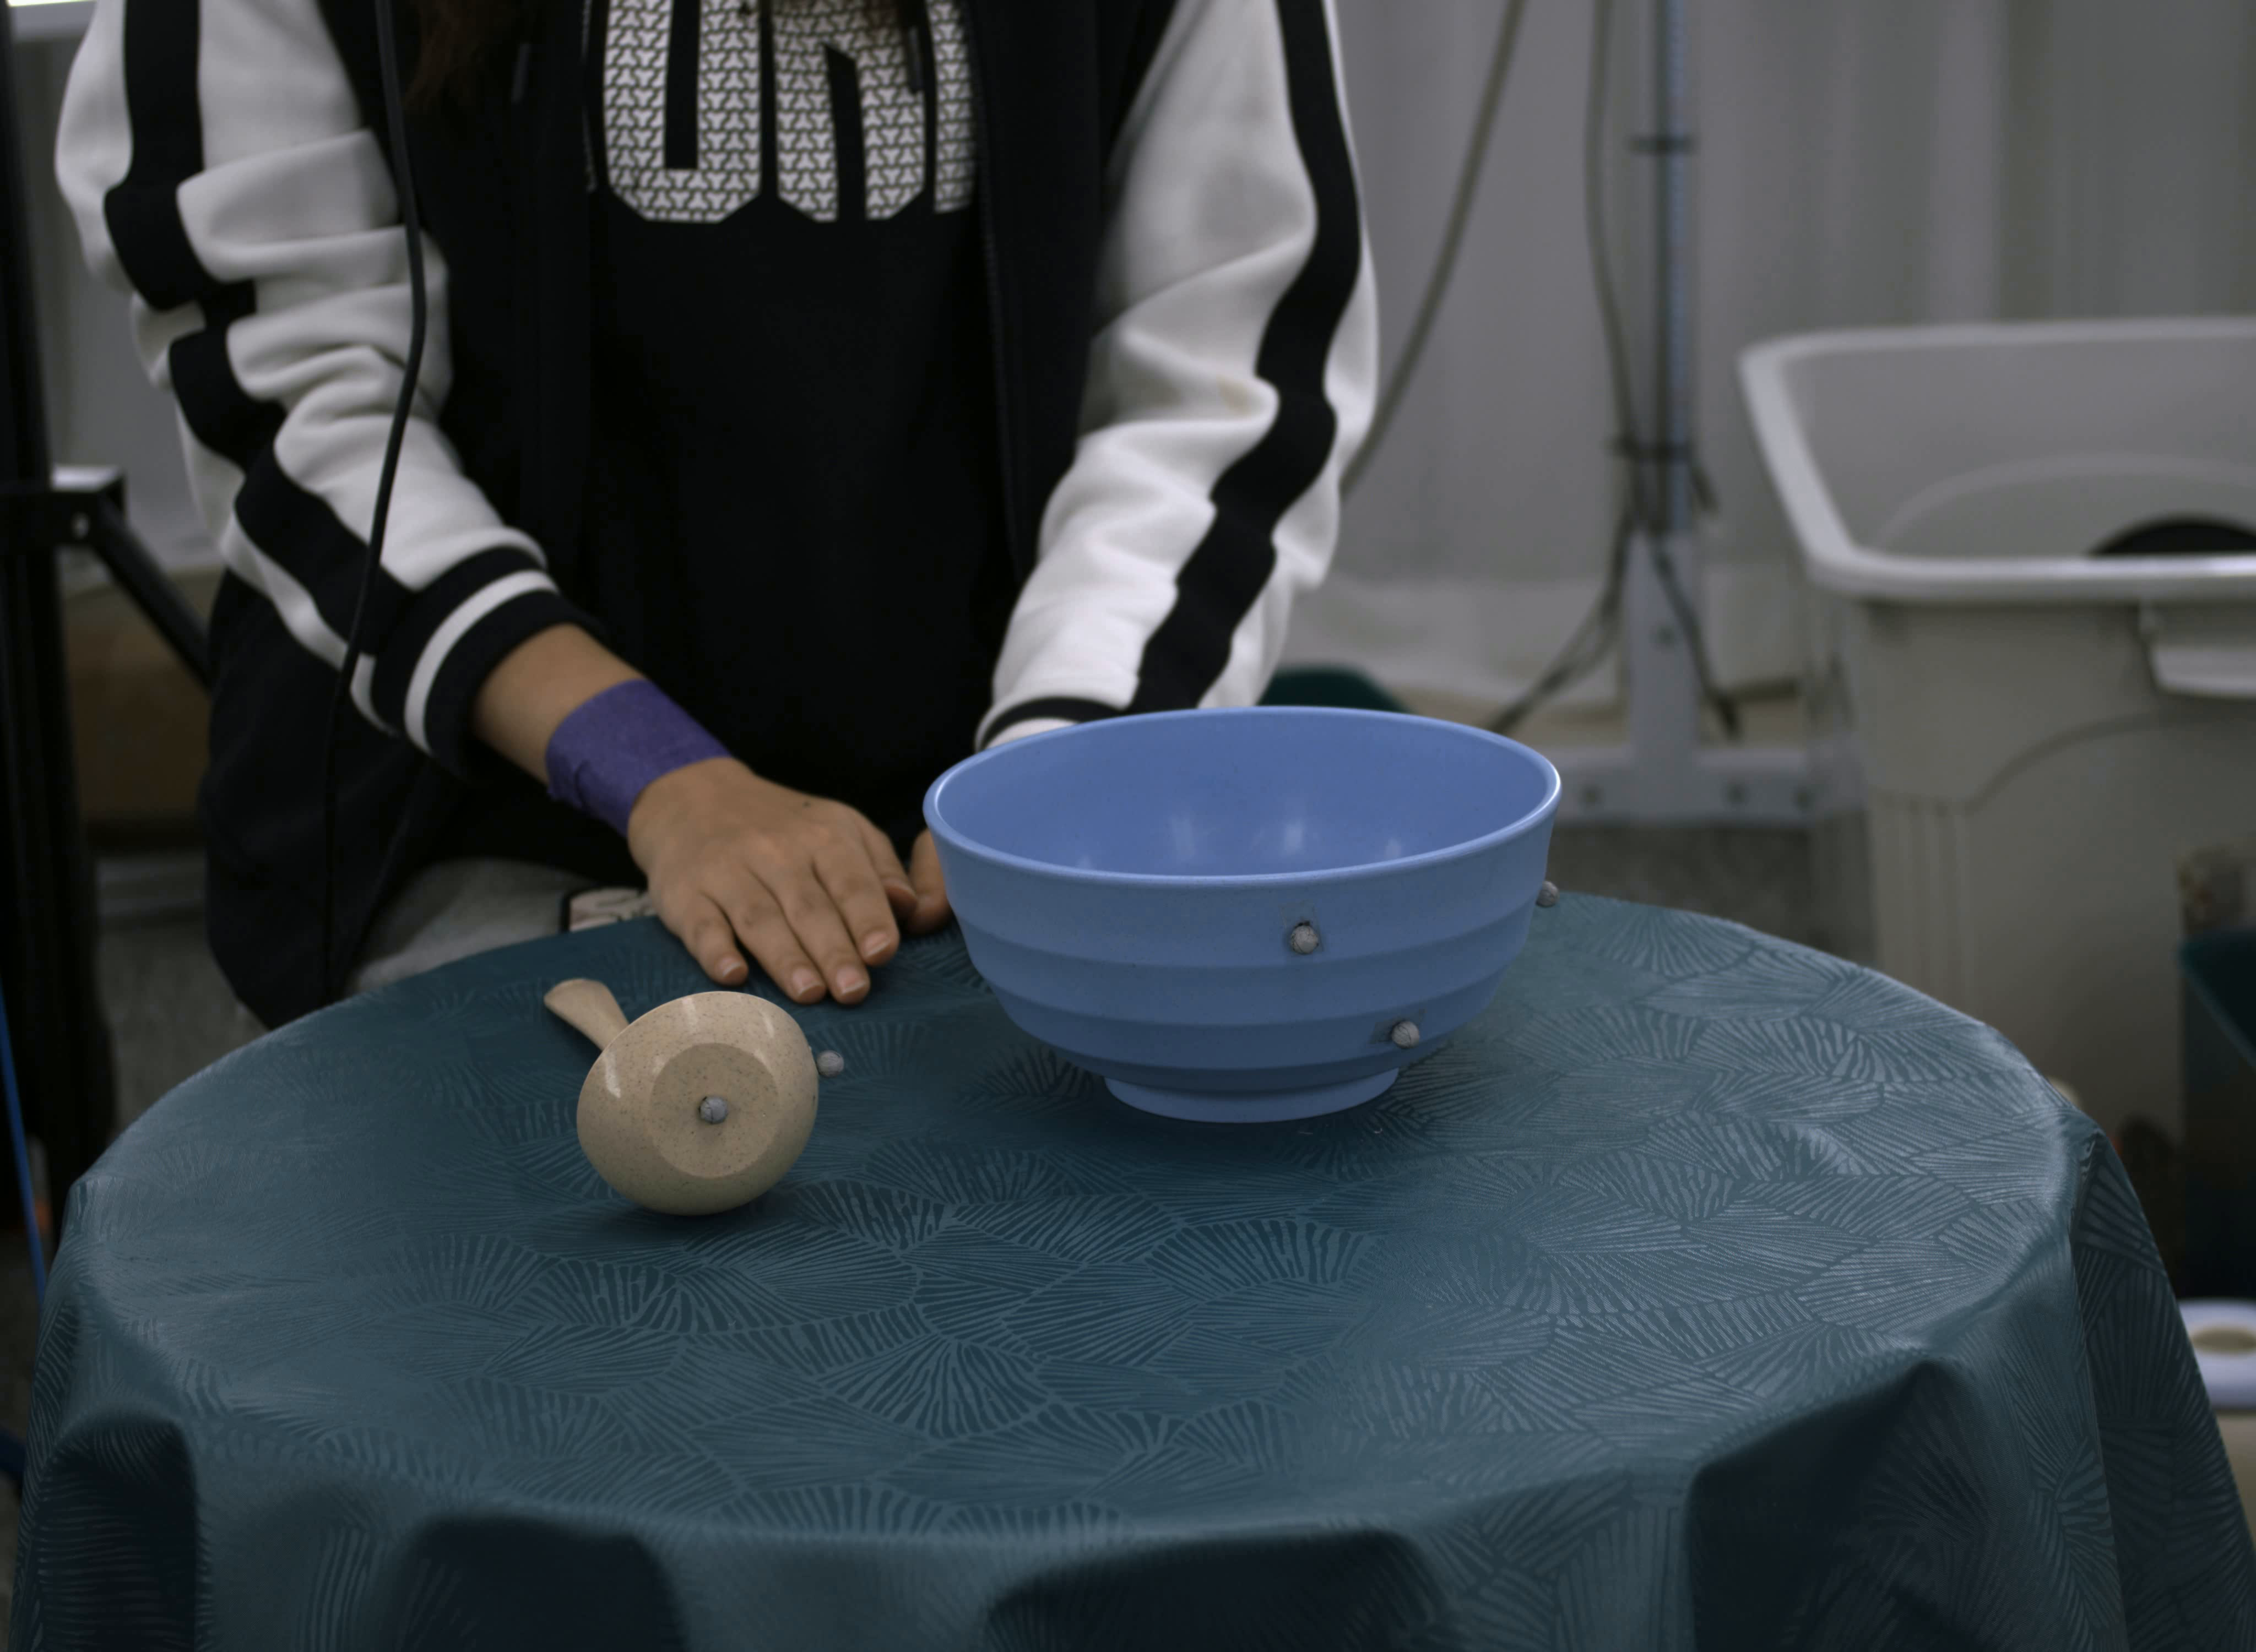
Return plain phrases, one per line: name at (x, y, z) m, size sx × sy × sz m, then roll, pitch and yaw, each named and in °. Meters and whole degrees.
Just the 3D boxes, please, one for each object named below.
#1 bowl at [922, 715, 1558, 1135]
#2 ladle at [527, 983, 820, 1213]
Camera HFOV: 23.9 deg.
bowl at (0.037, 0.036, 1.644) m, size 0.195 × 0.095 × 0.197 m, roll -4°, pitch 15°, yaw 0°
ladle at (-0.158, 0.055, 1.641) m, size 0.071 × 0.072 × 0.259 m, roll -19°, pitch 19°, yaw -14°
